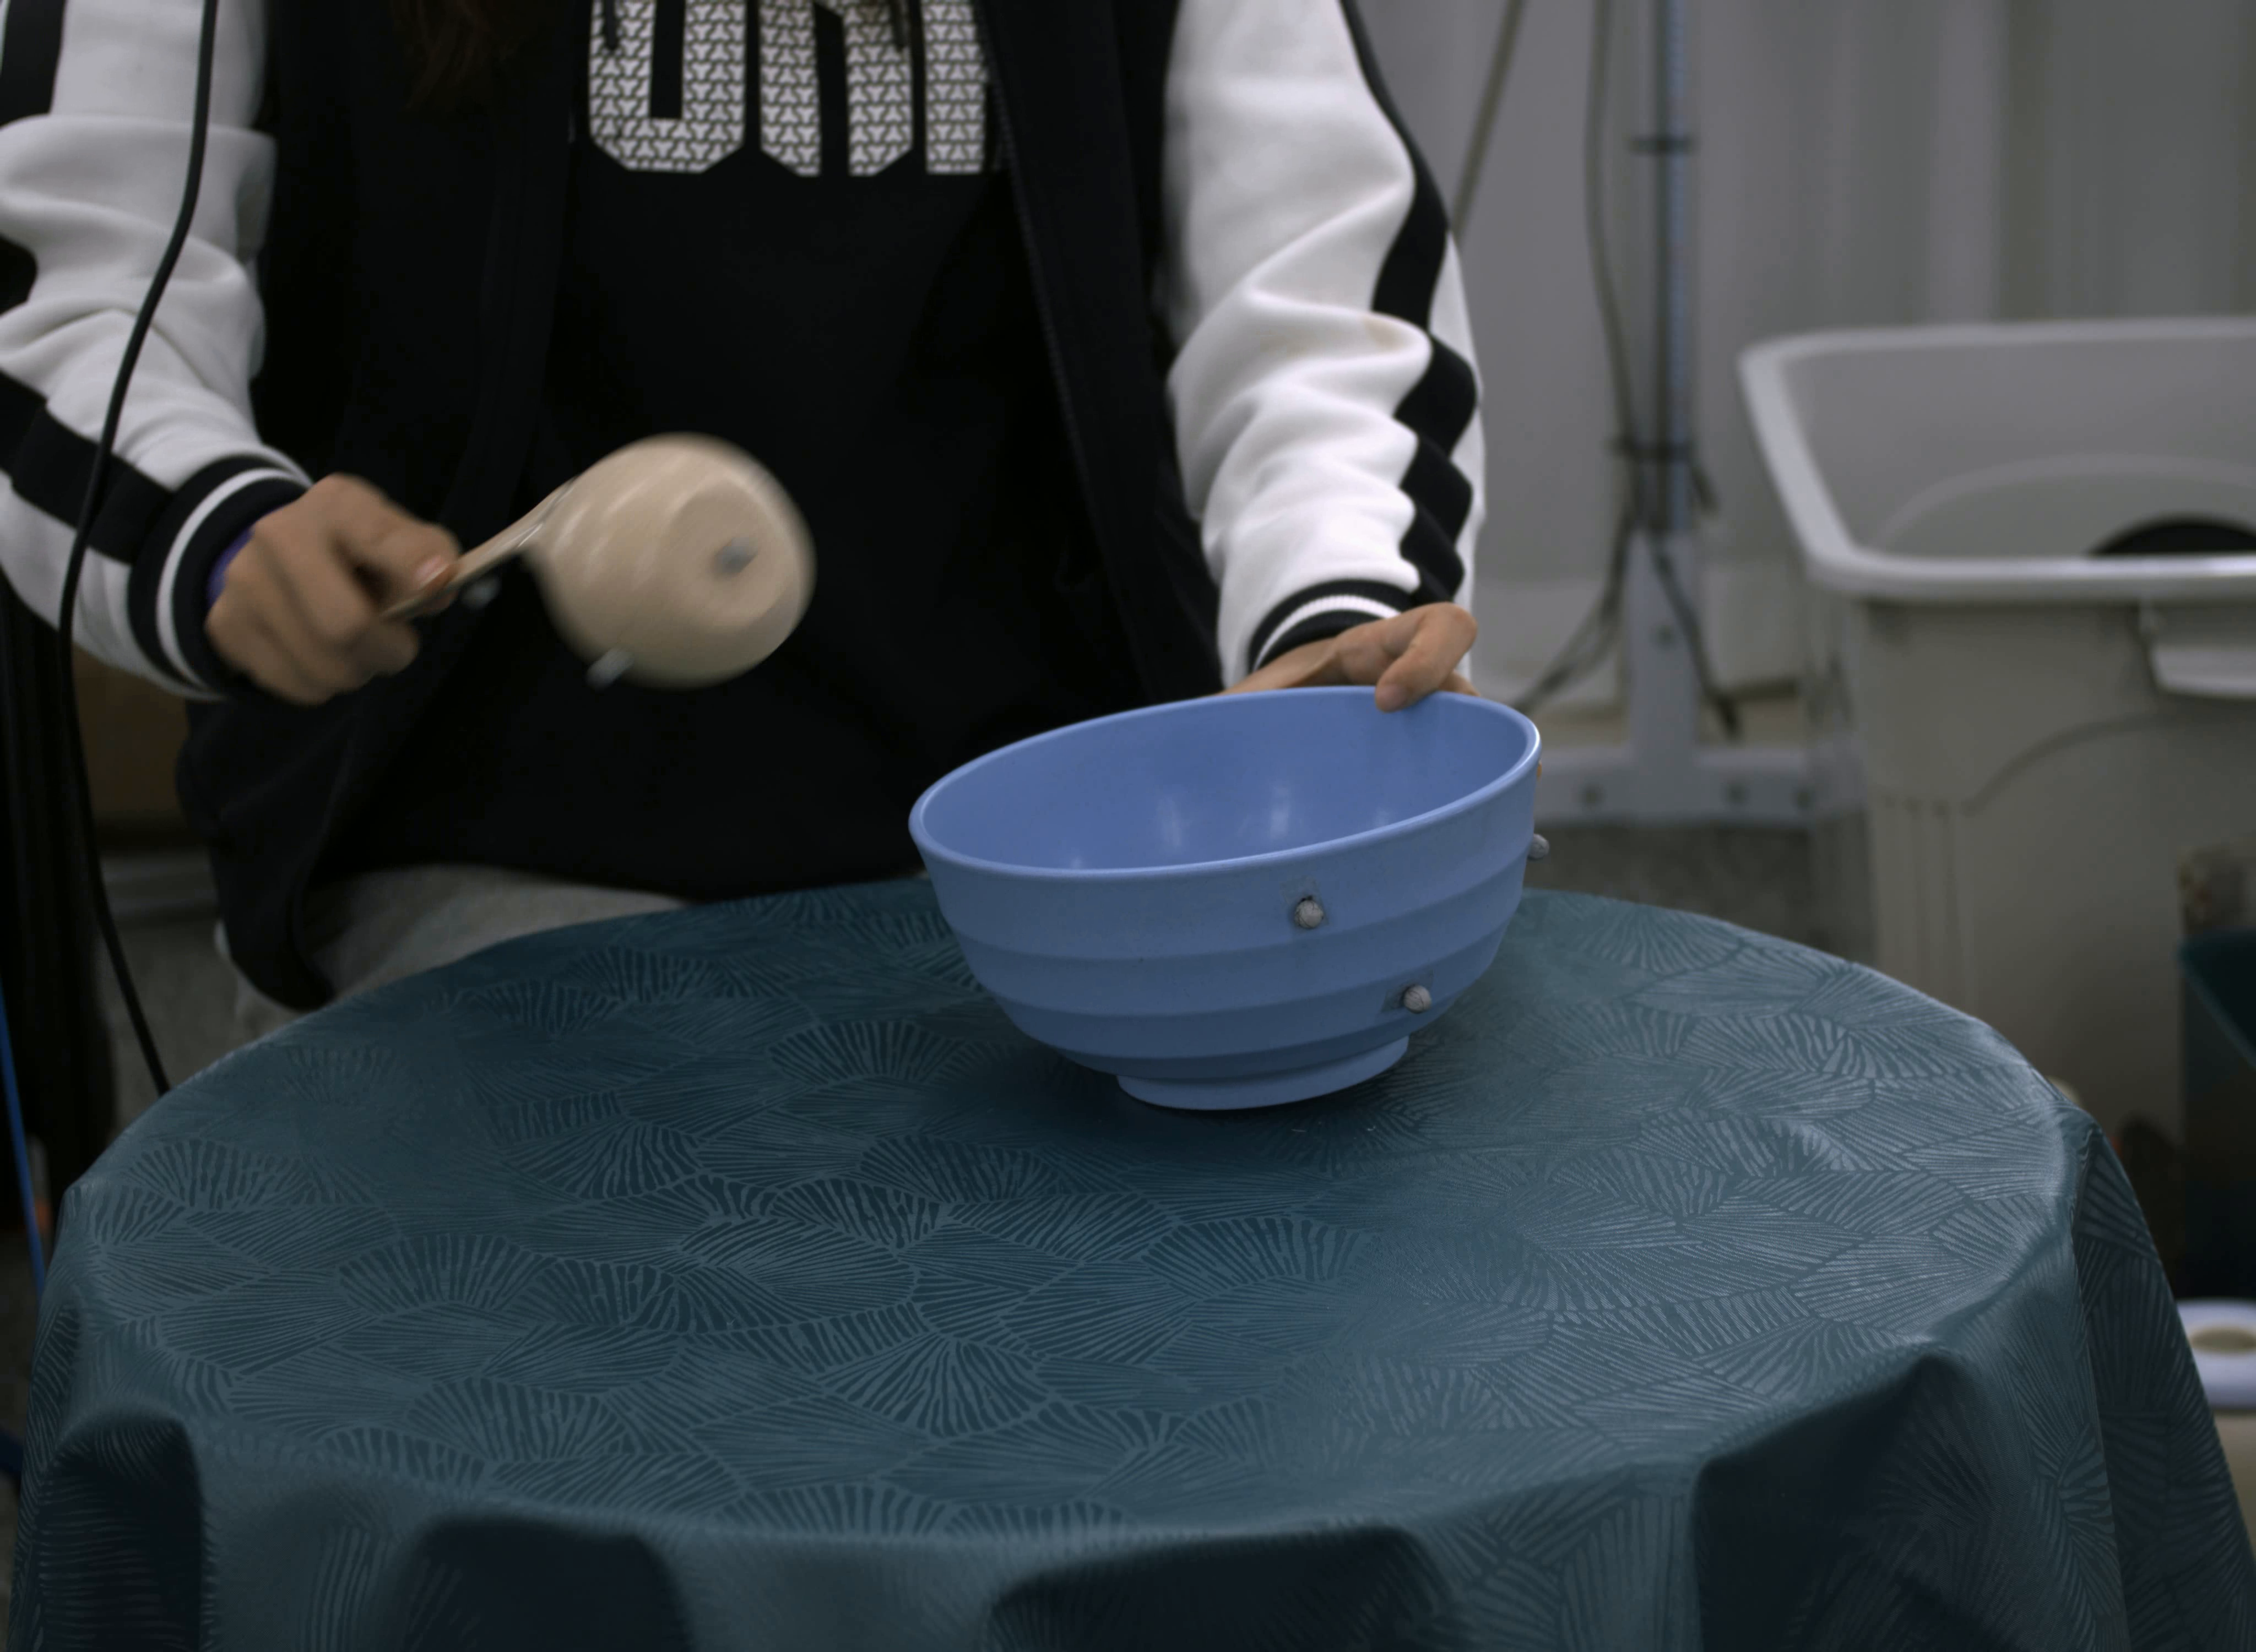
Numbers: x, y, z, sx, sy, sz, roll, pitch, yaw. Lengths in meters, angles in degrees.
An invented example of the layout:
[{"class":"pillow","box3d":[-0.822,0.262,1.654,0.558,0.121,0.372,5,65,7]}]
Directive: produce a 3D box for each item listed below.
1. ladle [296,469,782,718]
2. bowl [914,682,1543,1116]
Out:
[{"class":"ladle","box3d":[-0.184,-0.059,1.634,0.071,0.072,0.258,37,-19,-19]},{"class":"bowl","box3d":[0.037,0.030,1.645,0.196,0.095,0.197,-9,16,1]}]
